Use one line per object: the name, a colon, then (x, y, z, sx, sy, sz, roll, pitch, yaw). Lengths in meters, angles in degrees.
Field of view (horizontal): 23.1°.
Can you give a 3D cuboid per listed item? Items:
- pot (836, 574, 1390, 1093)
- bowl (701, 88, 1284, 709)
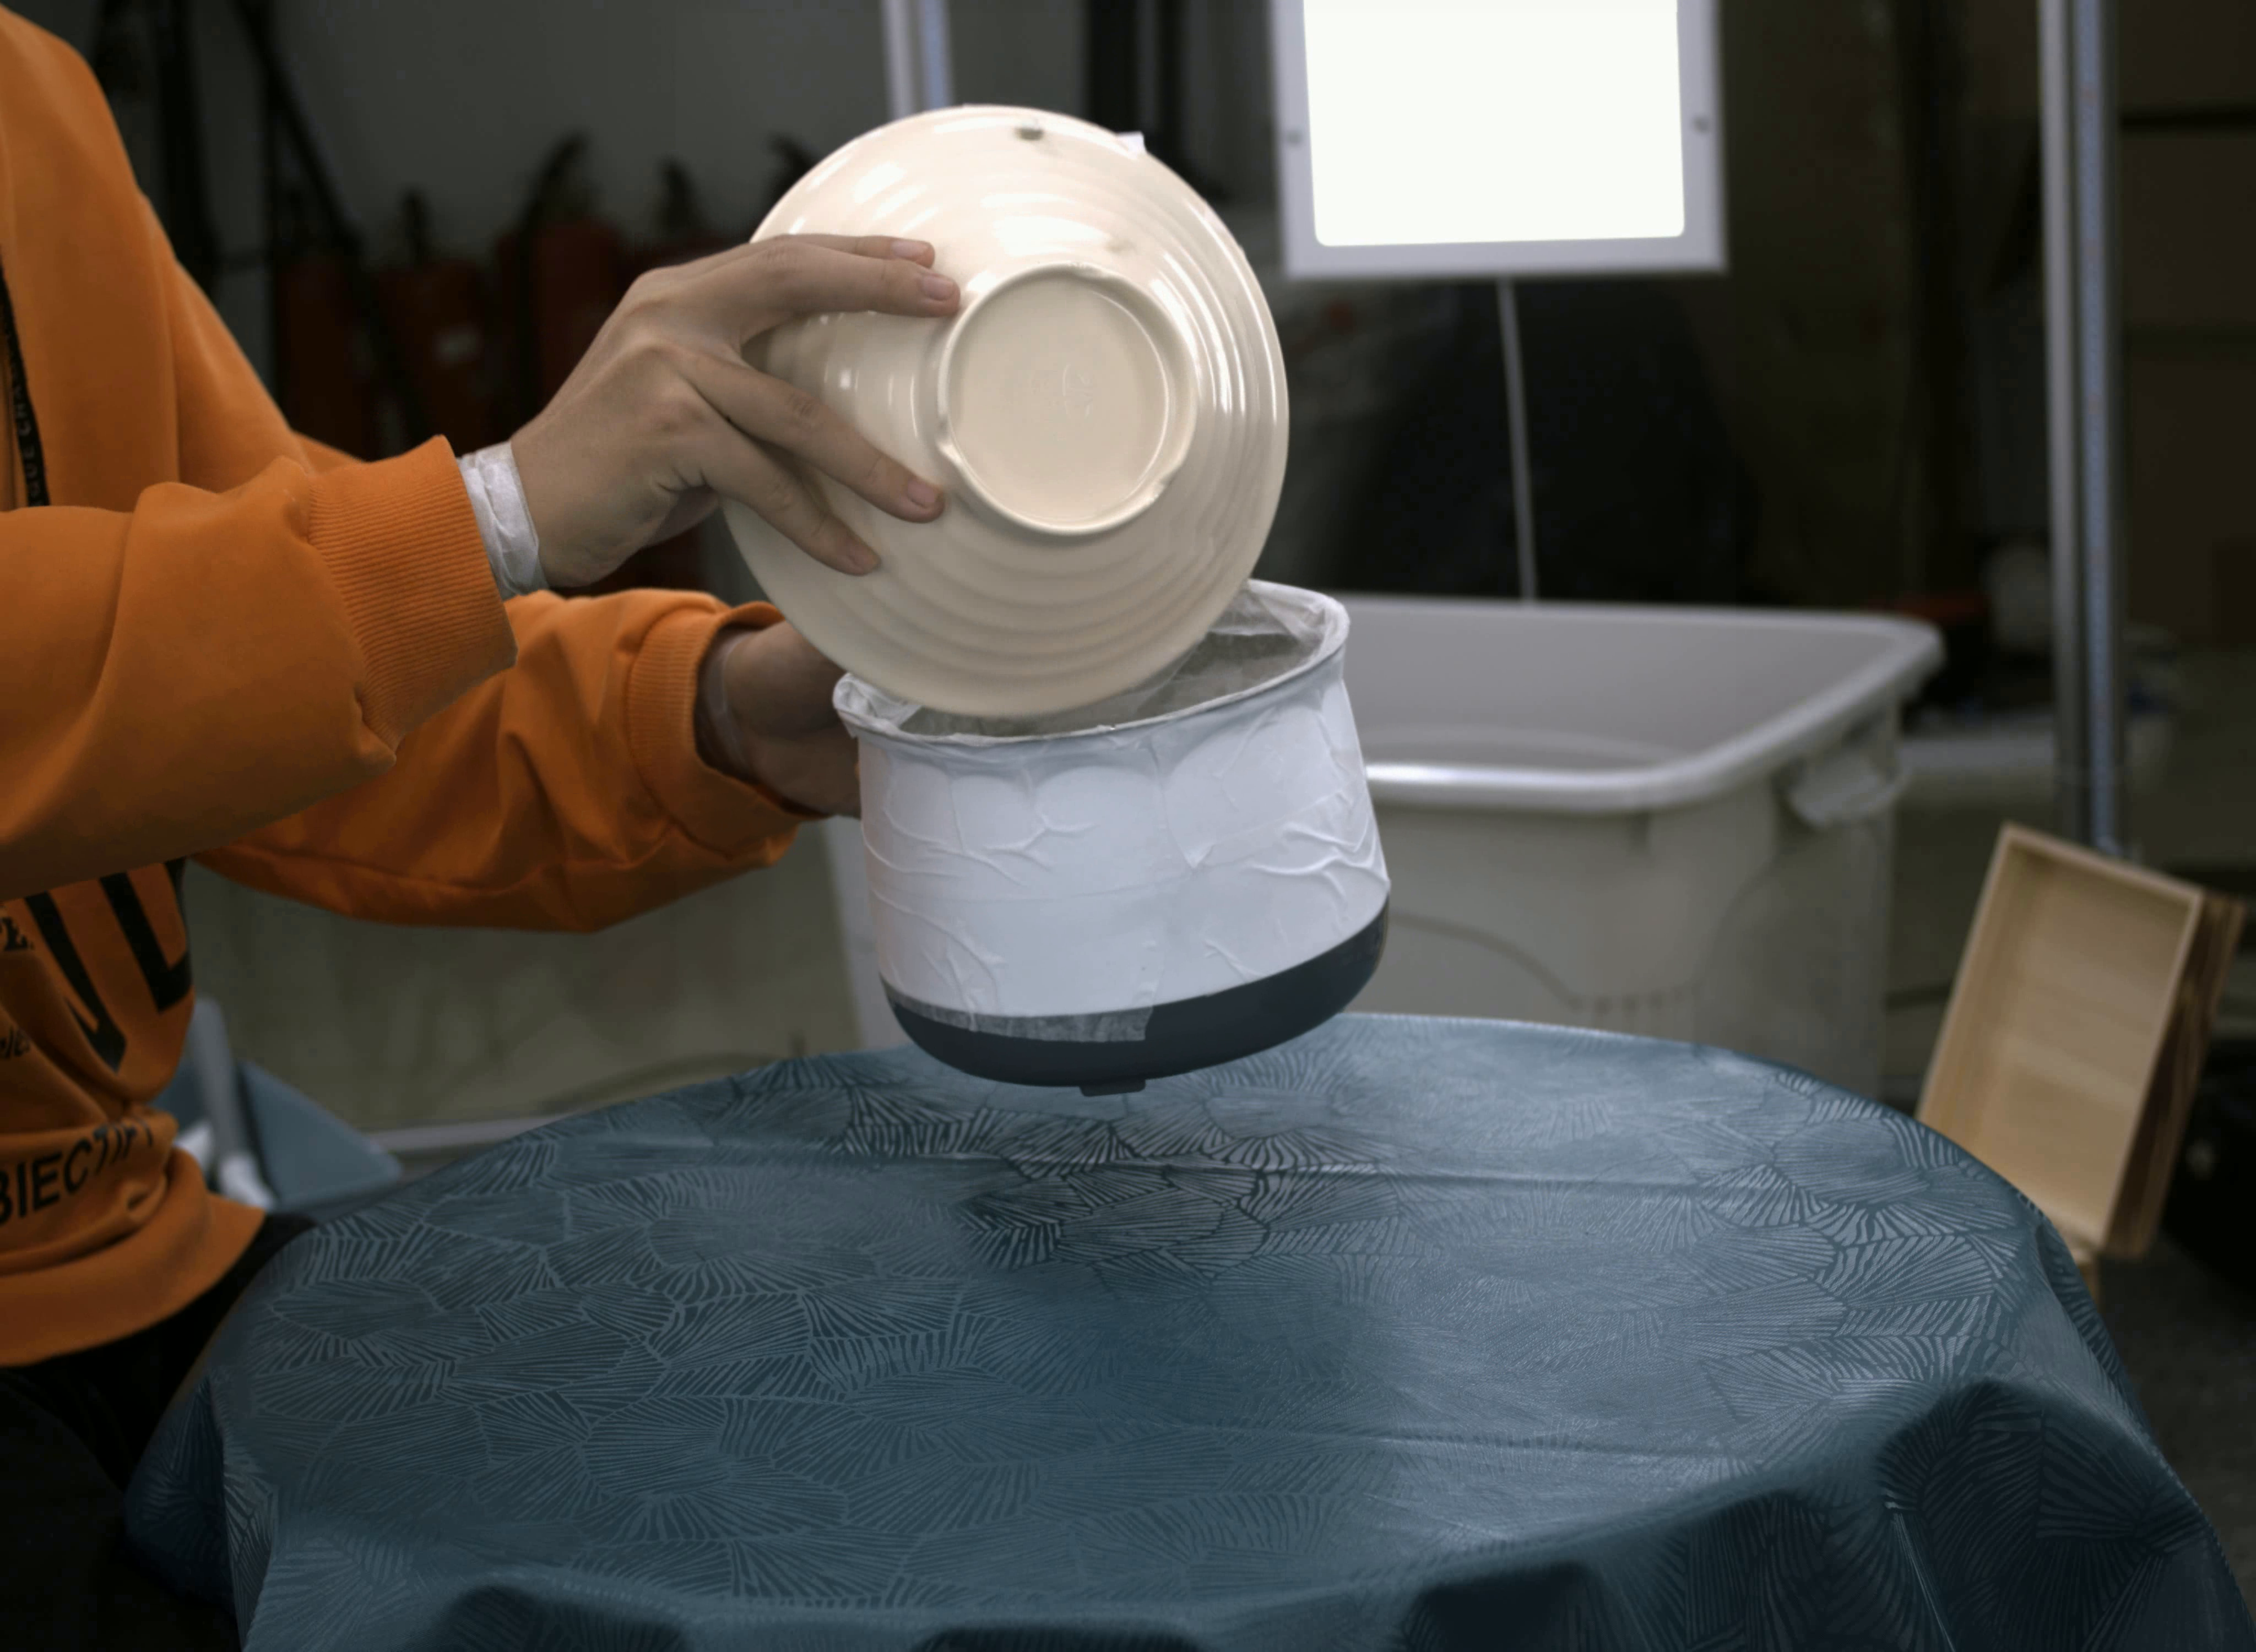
pot: (-0.019, -0.003, 1.890, 0.174, 0.137, 0.238, -20, 20, -32)
bowl: (-0.030, -0.140, 1.775, 0.200, 0.204, 0.079, -9, 4, -18)
